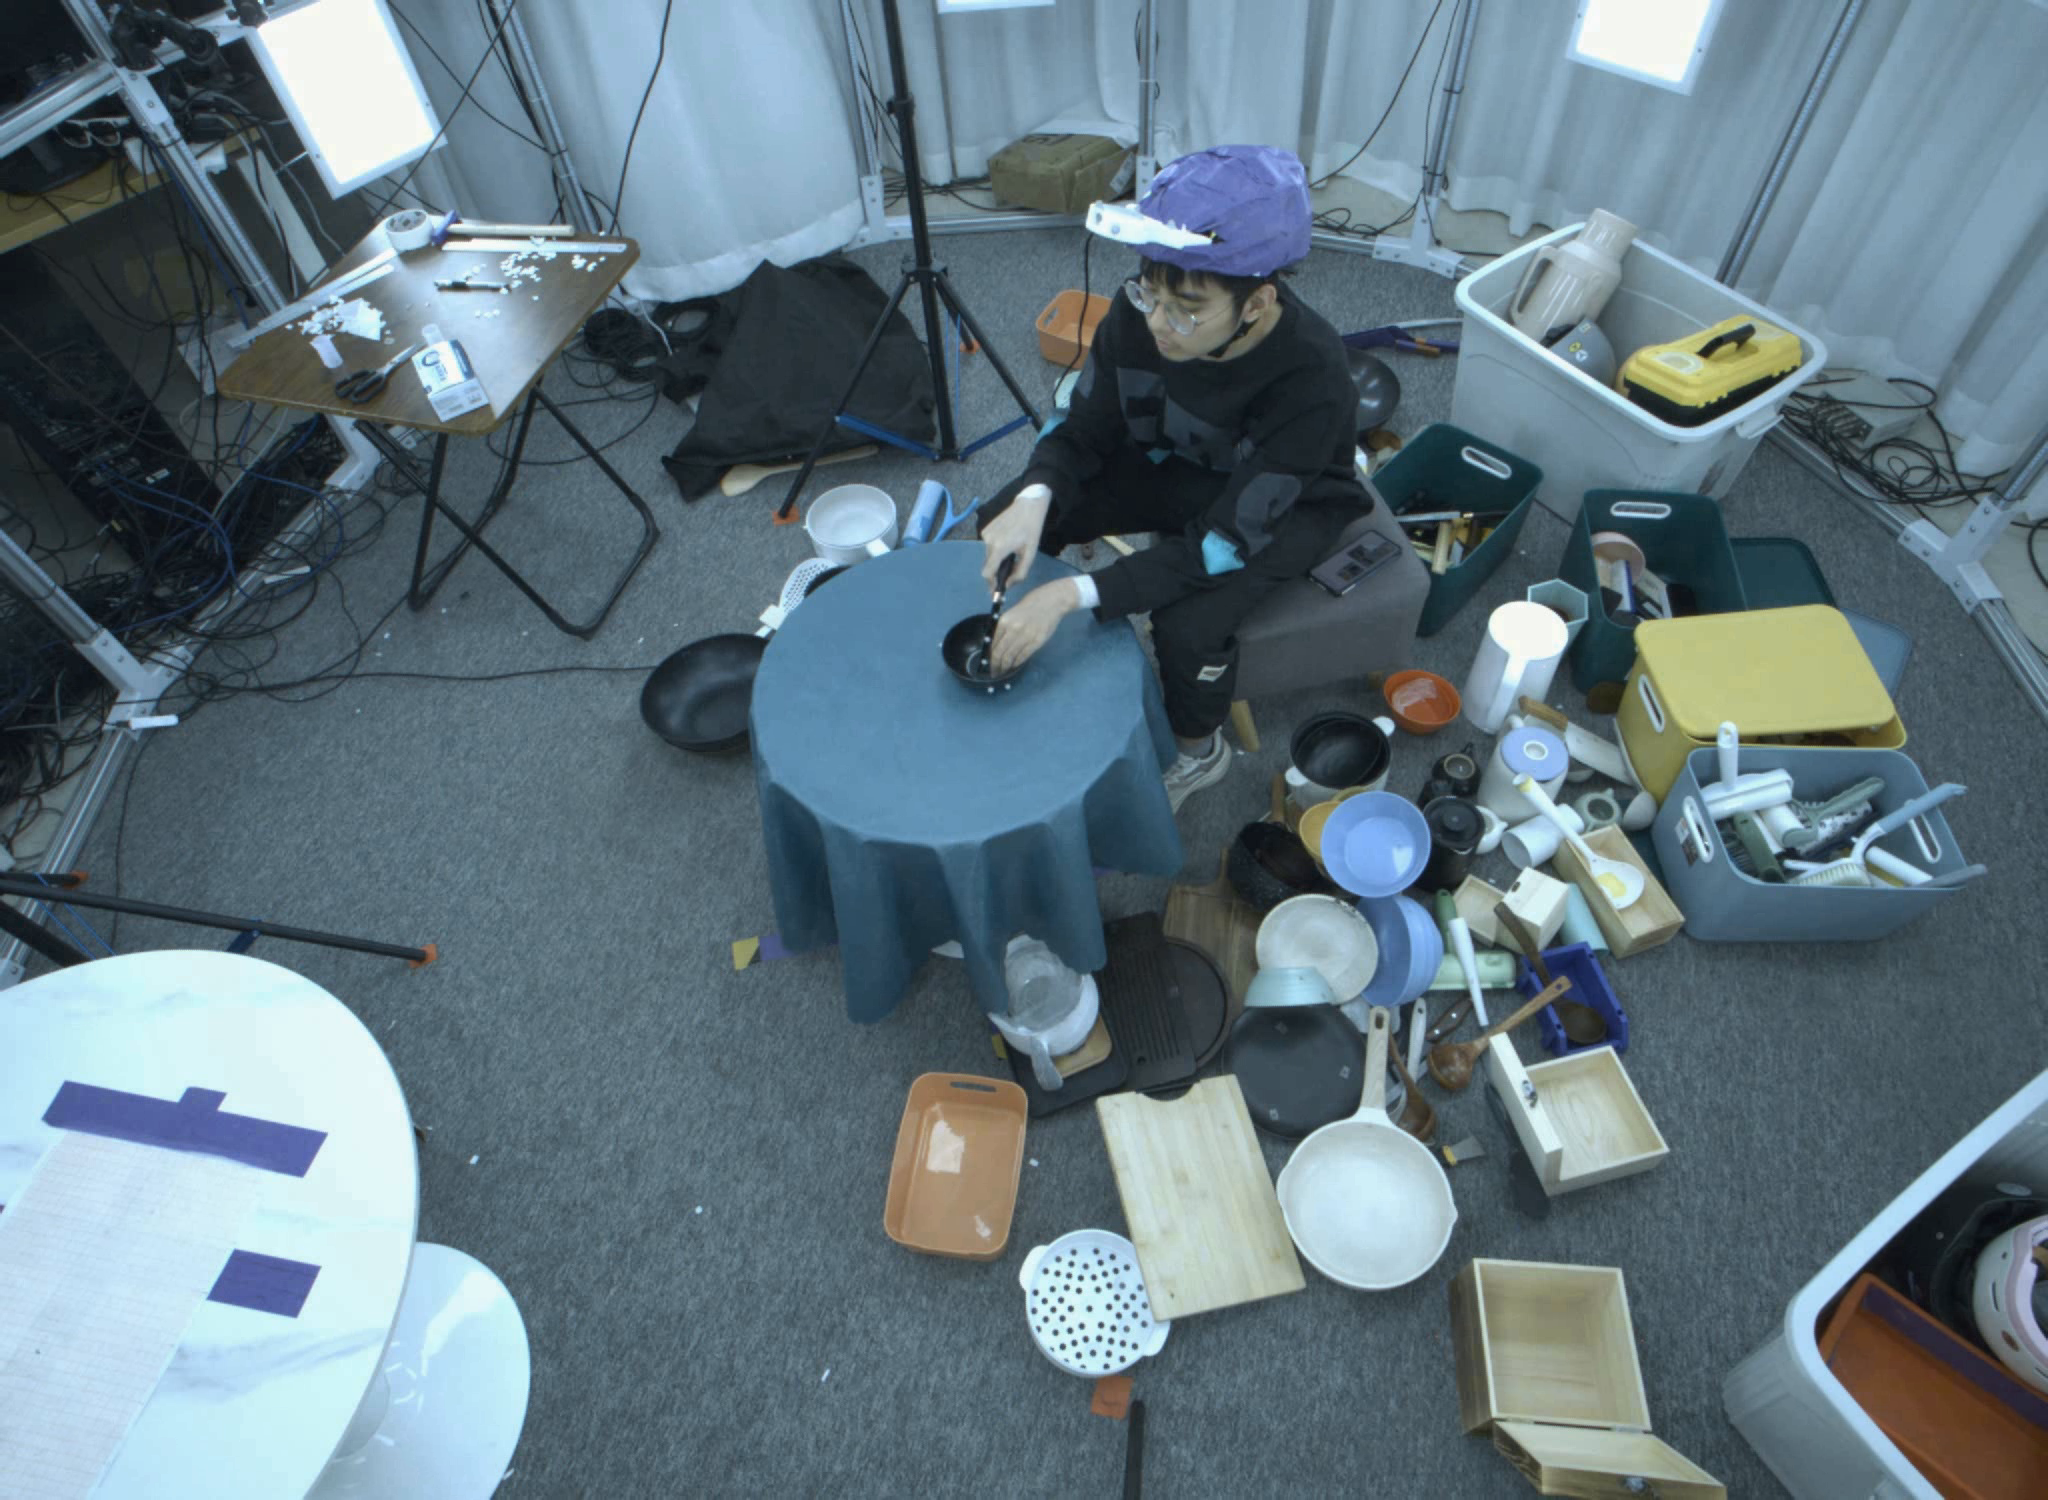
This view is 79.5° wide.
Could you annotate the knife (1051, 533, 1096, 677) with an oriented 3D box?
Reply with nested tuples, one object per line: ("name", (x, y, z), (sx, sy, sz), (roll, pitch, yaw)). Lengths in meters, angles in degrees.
("knife", (0.071, -0.219, 1.860), (0.017, 0.026, 0.225), (17, 91, 26))

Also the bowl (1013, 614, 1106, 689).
("bowl", (0.054, -0.140, 1.857), (0.140, 0.050, 0.138), (1, 51, 1))
